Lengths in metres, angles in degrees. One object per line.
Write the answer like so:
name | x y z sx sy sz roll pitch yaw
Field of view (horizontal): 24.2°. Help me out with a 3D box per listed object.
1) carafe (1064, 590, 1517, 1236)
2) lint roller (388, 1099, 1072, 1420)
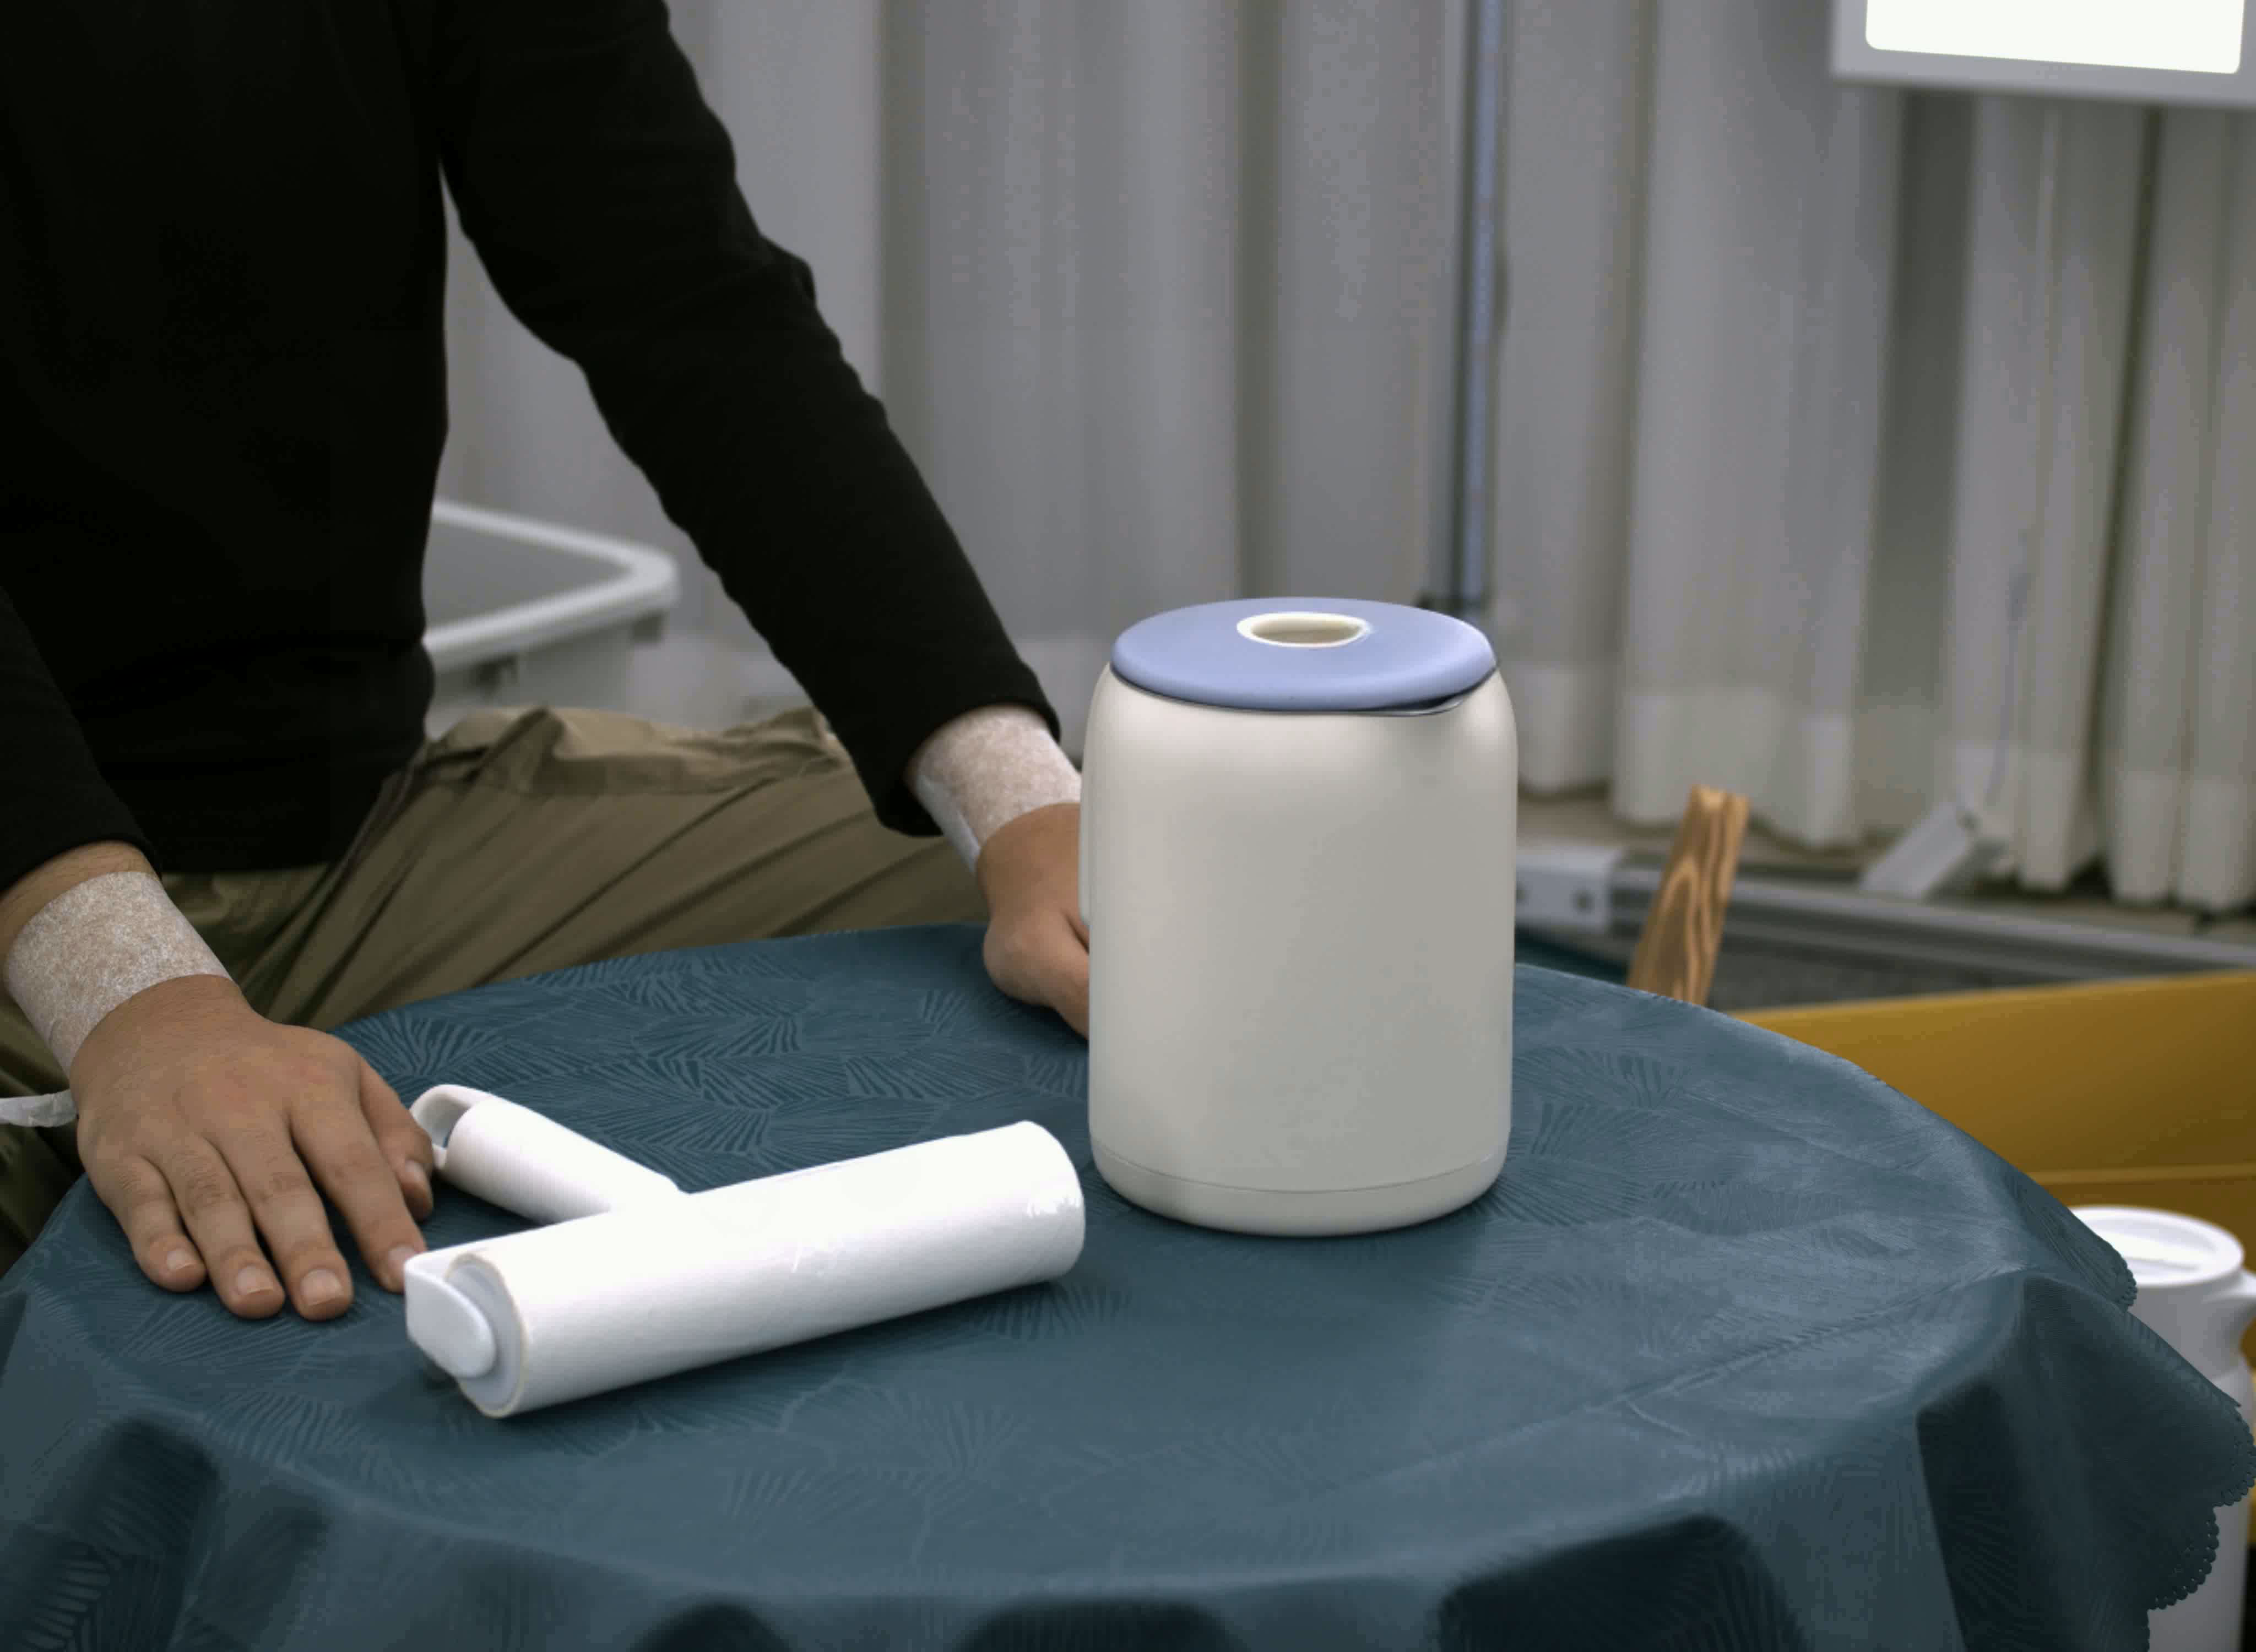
carafe | 0.039 0.020 1.631 0.133 0.184 0.188 -10 17 -34
lint roller | -0.156 0.107 1.555 0.204 0.049 0.222 -12 19 -36
